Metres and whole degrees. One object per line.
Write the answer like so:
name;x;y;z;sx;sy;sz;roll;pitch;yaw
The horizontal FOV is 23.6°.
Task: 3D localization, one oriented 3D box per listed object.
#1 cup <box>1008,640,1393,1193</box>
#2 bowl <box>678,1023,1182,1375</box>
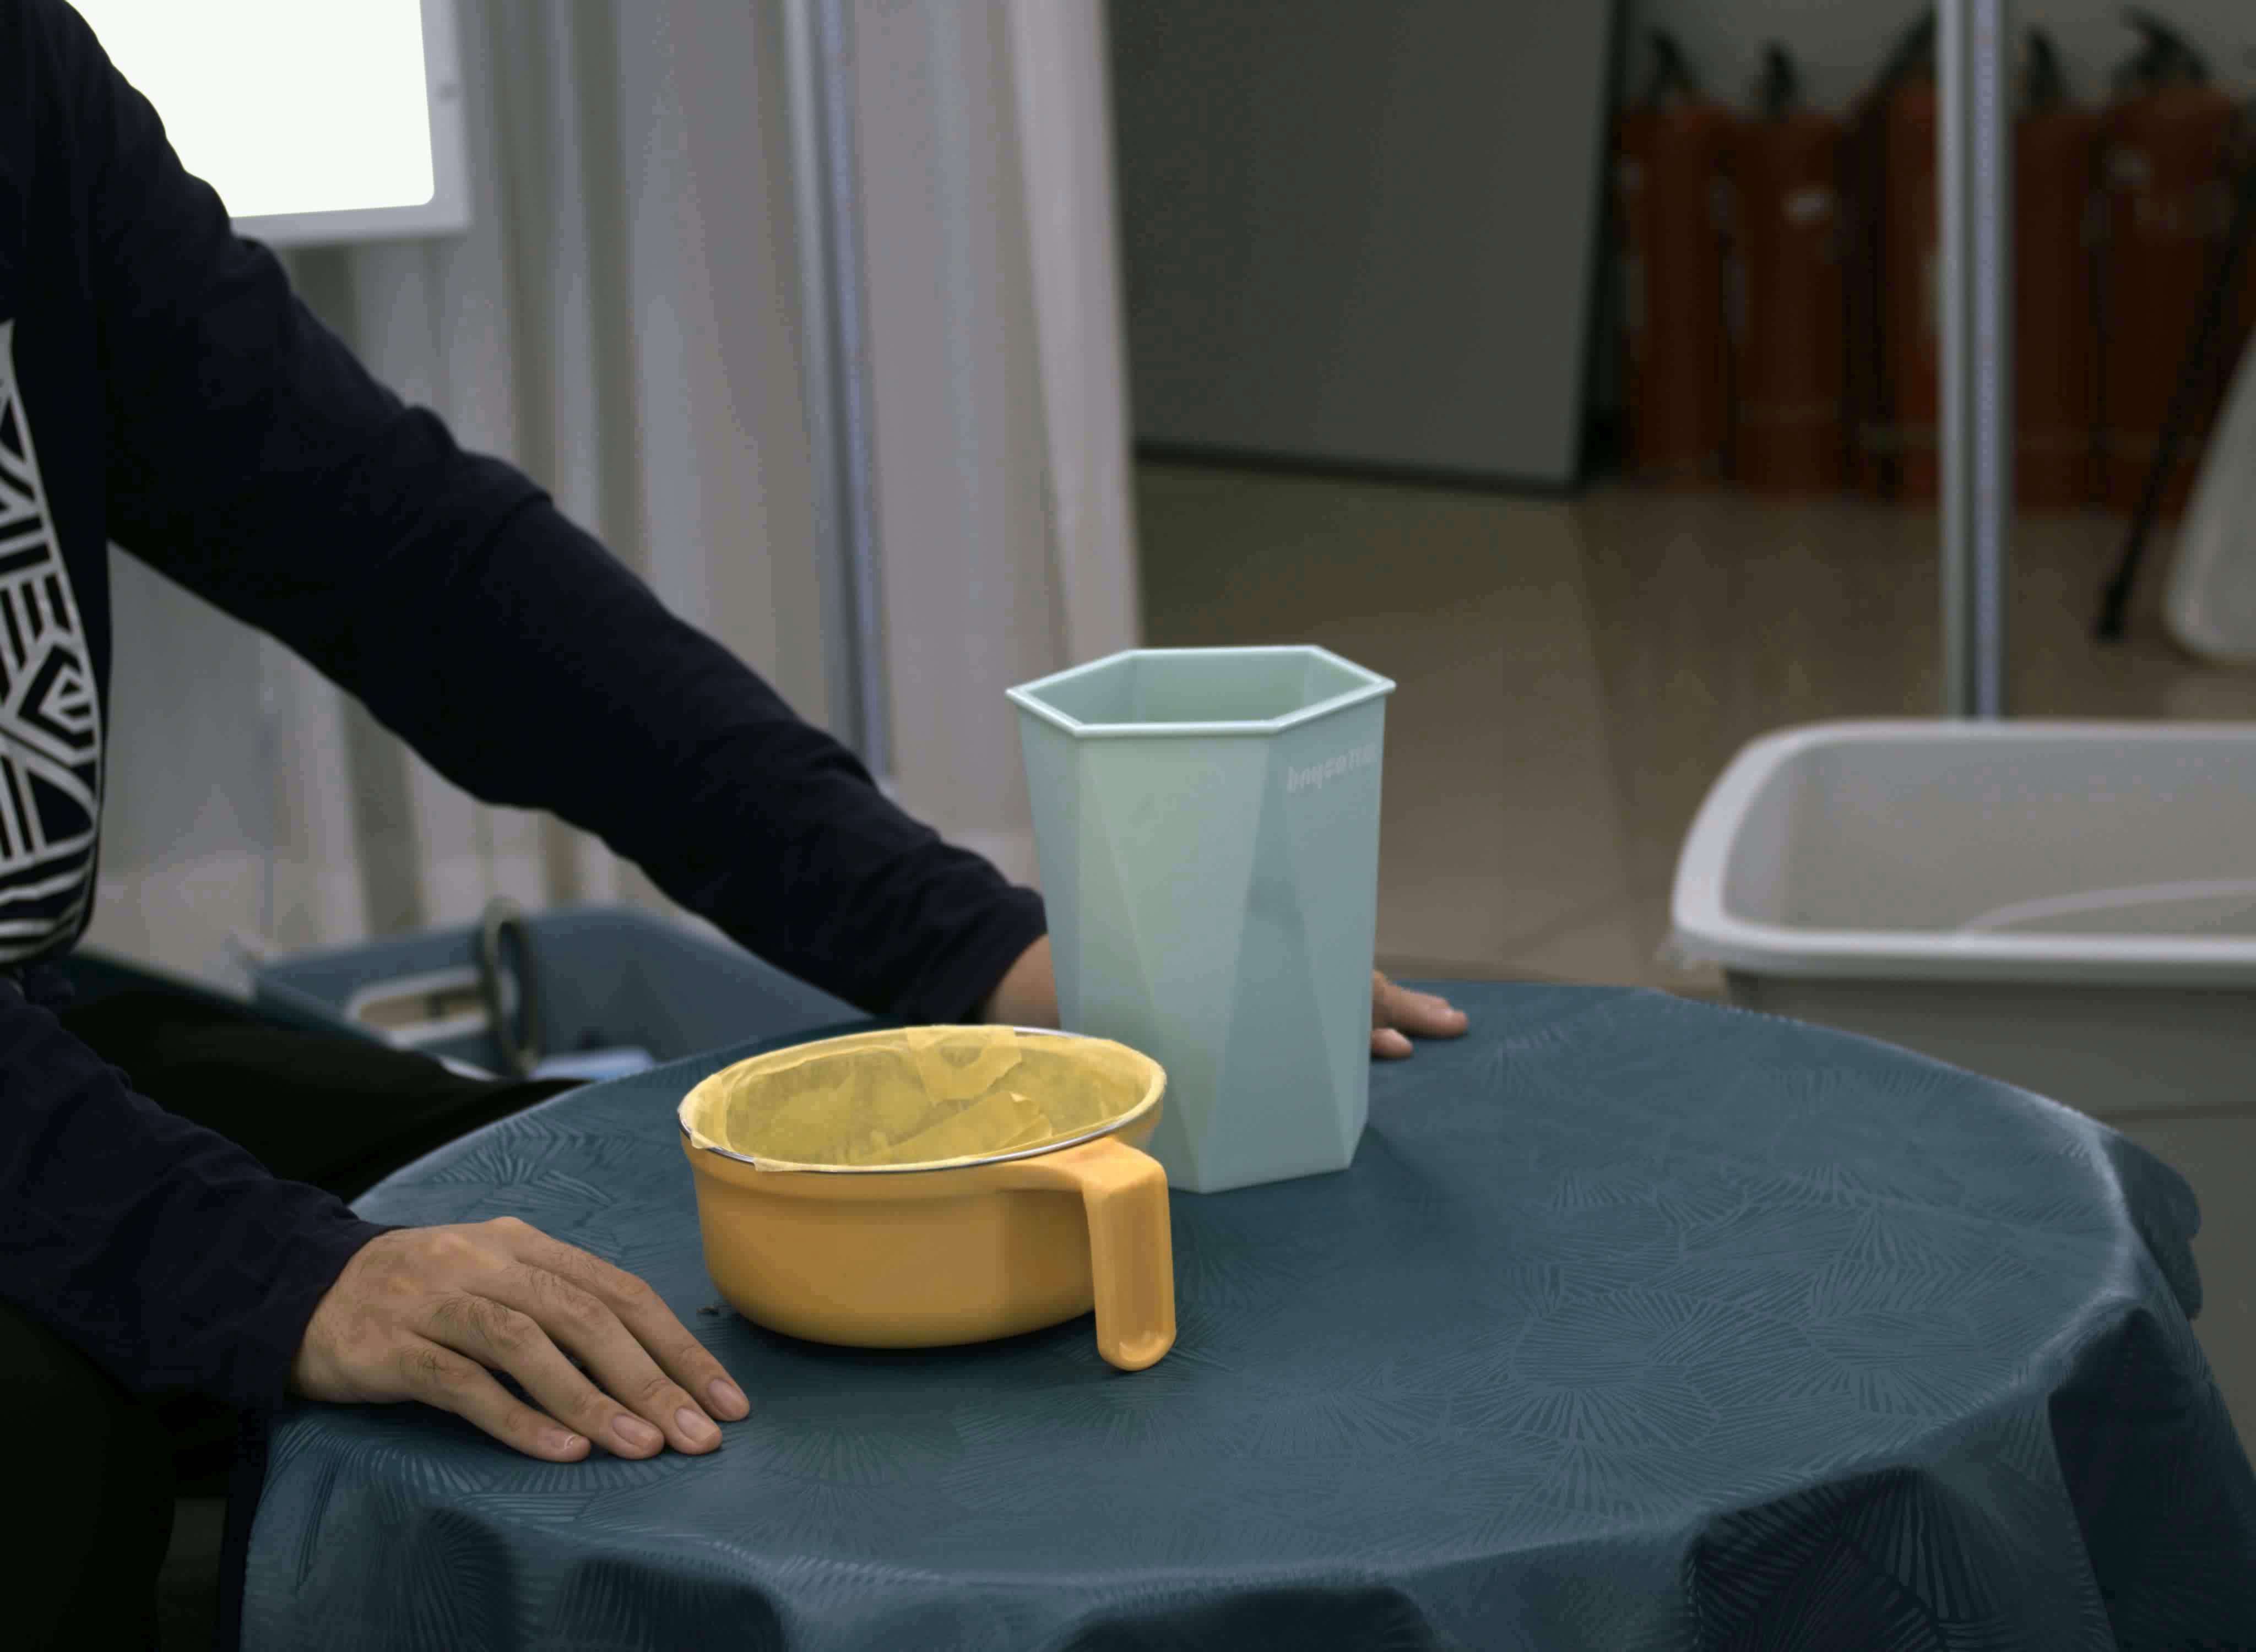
cup;0.029;0.029;1.796;0.116;0.165;0.128;5;16;38
bowl;-0.053;0.118;1.665;0.150;0.075;0.181;-16;16;-40
